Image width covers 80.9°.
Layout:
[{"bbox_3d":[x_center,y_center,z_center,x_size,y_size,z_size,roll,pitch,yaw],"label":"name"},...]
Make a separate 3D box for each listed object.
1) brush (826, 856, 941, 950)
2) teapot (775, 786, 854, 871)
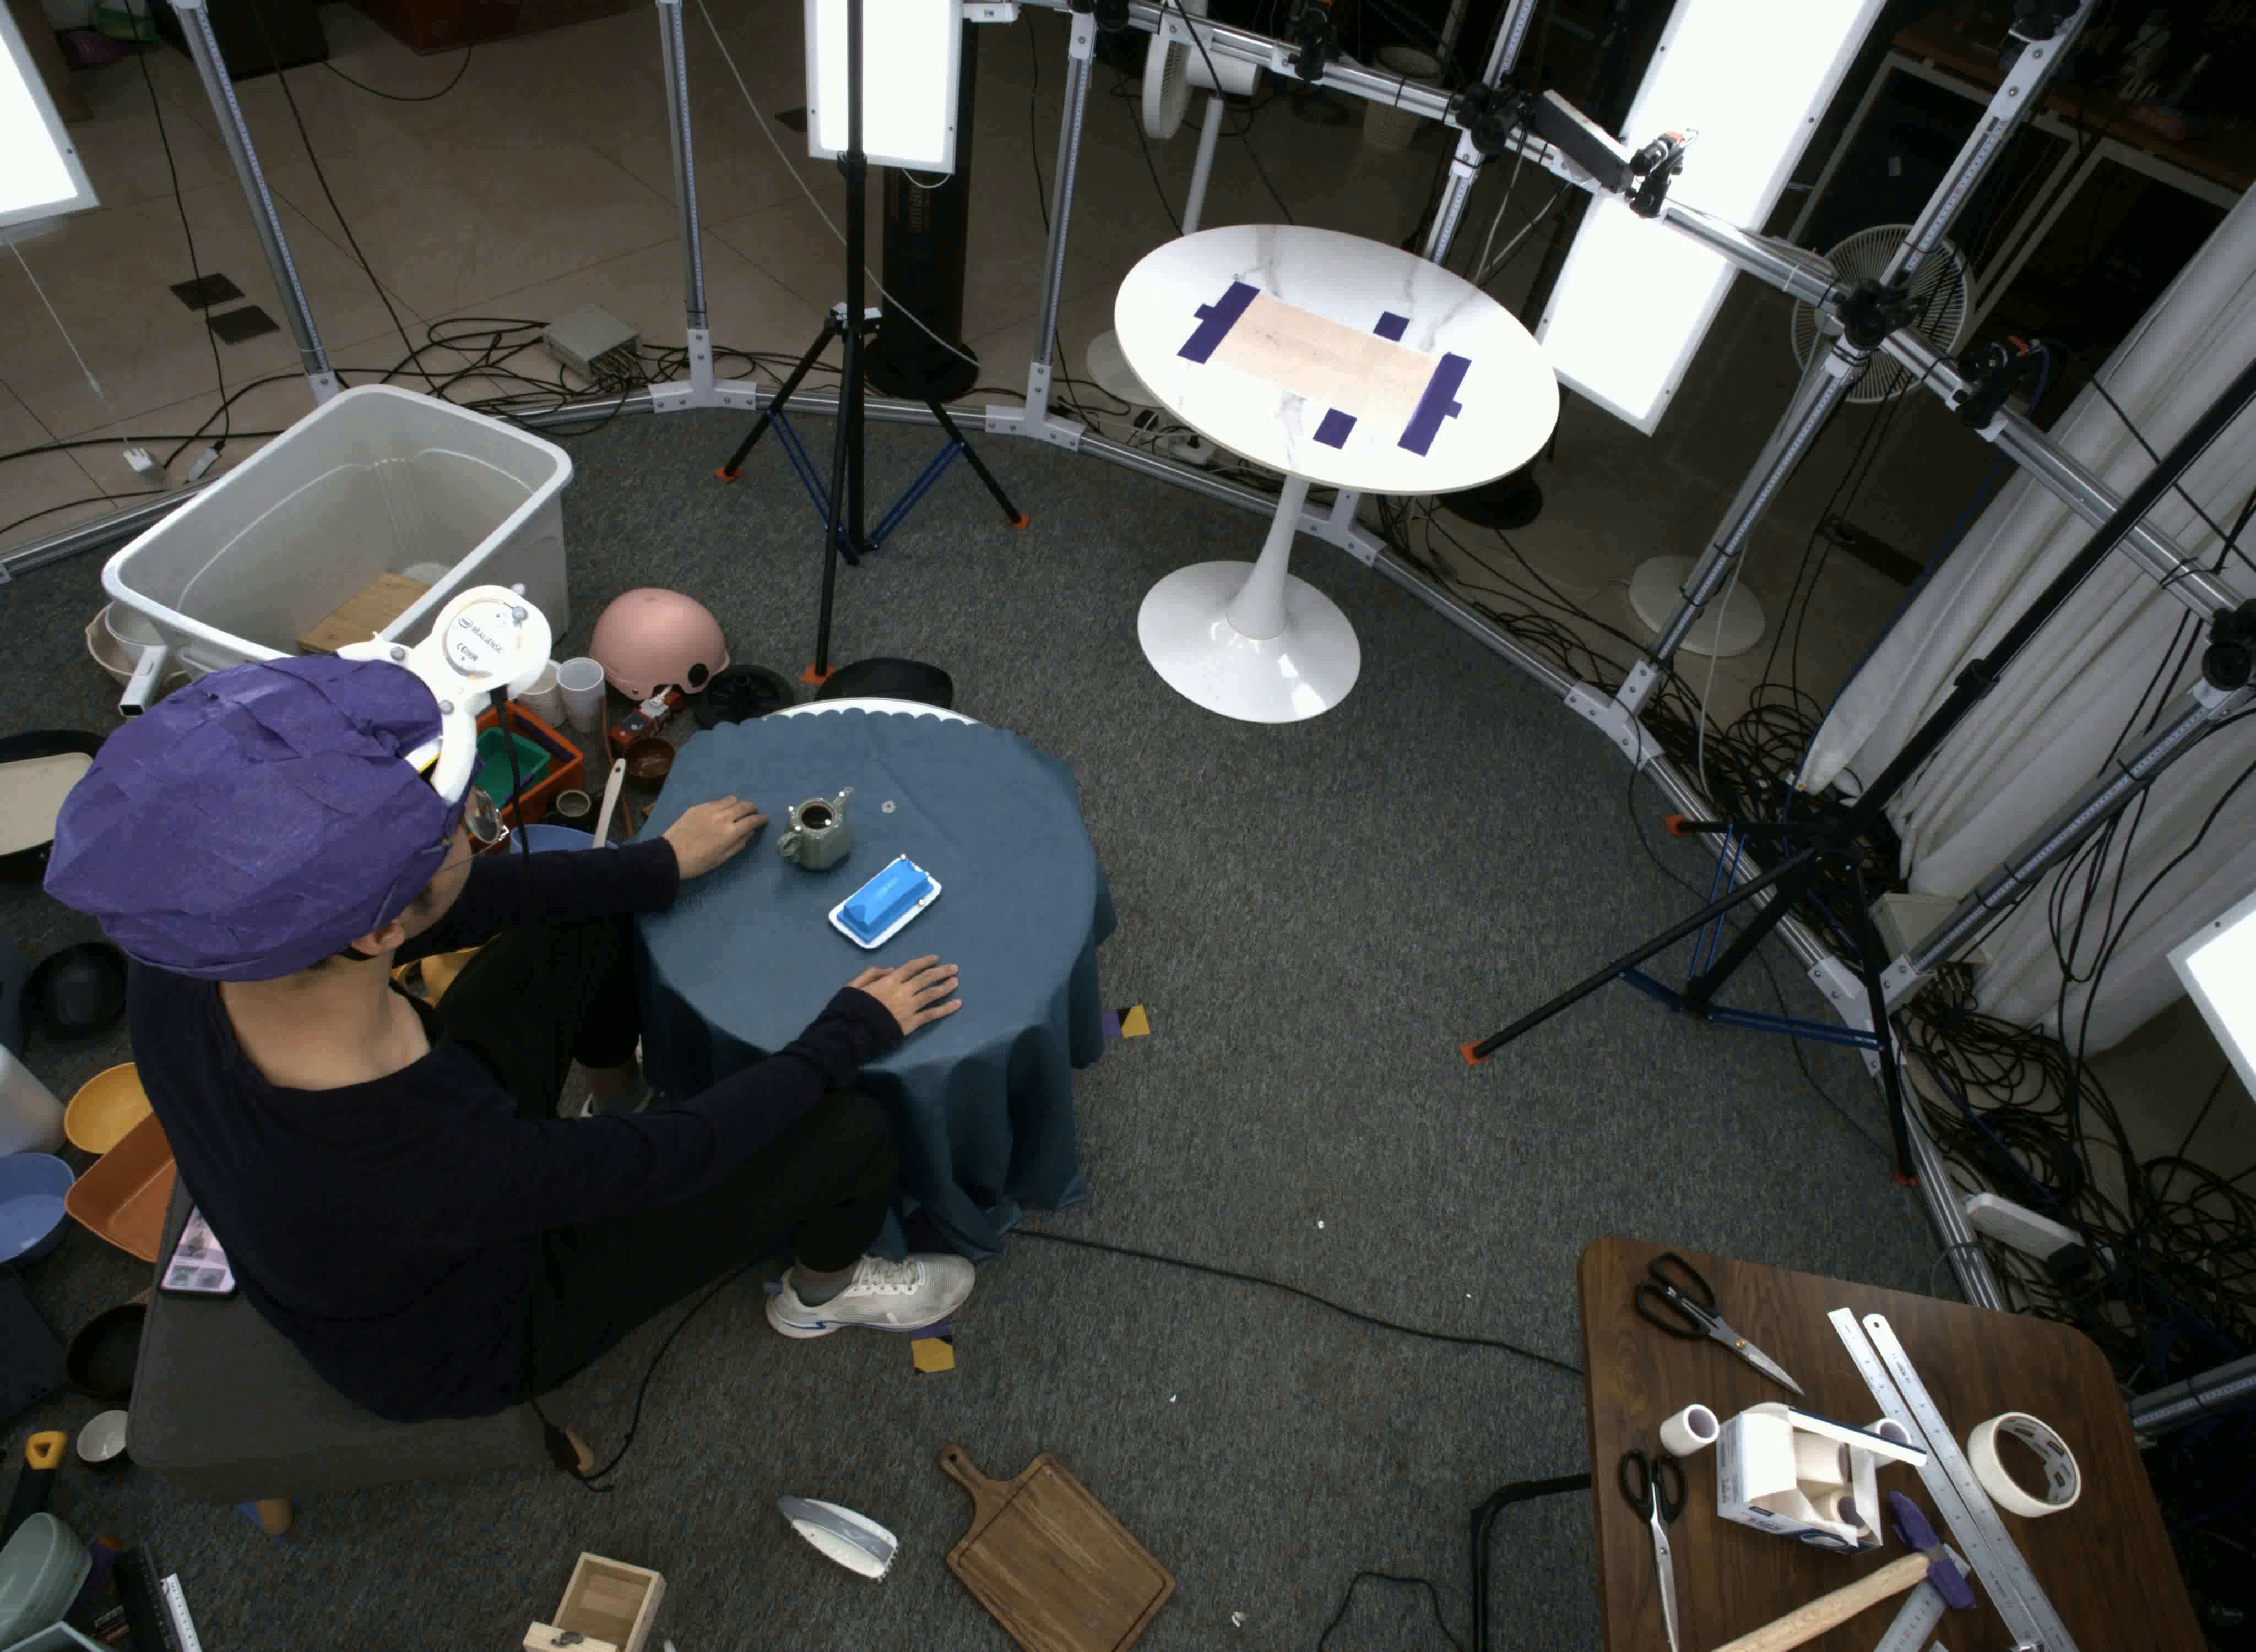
[{"bbox_3d":[-0.310,0.089,1.648,0.082,0.057,0.144,36,51,19],"label":"brush"},{"bbox_3d":[-0.403,0.006,1.679,0.078,0.077,0.132,36,55,15],"label":"teapot"}]
